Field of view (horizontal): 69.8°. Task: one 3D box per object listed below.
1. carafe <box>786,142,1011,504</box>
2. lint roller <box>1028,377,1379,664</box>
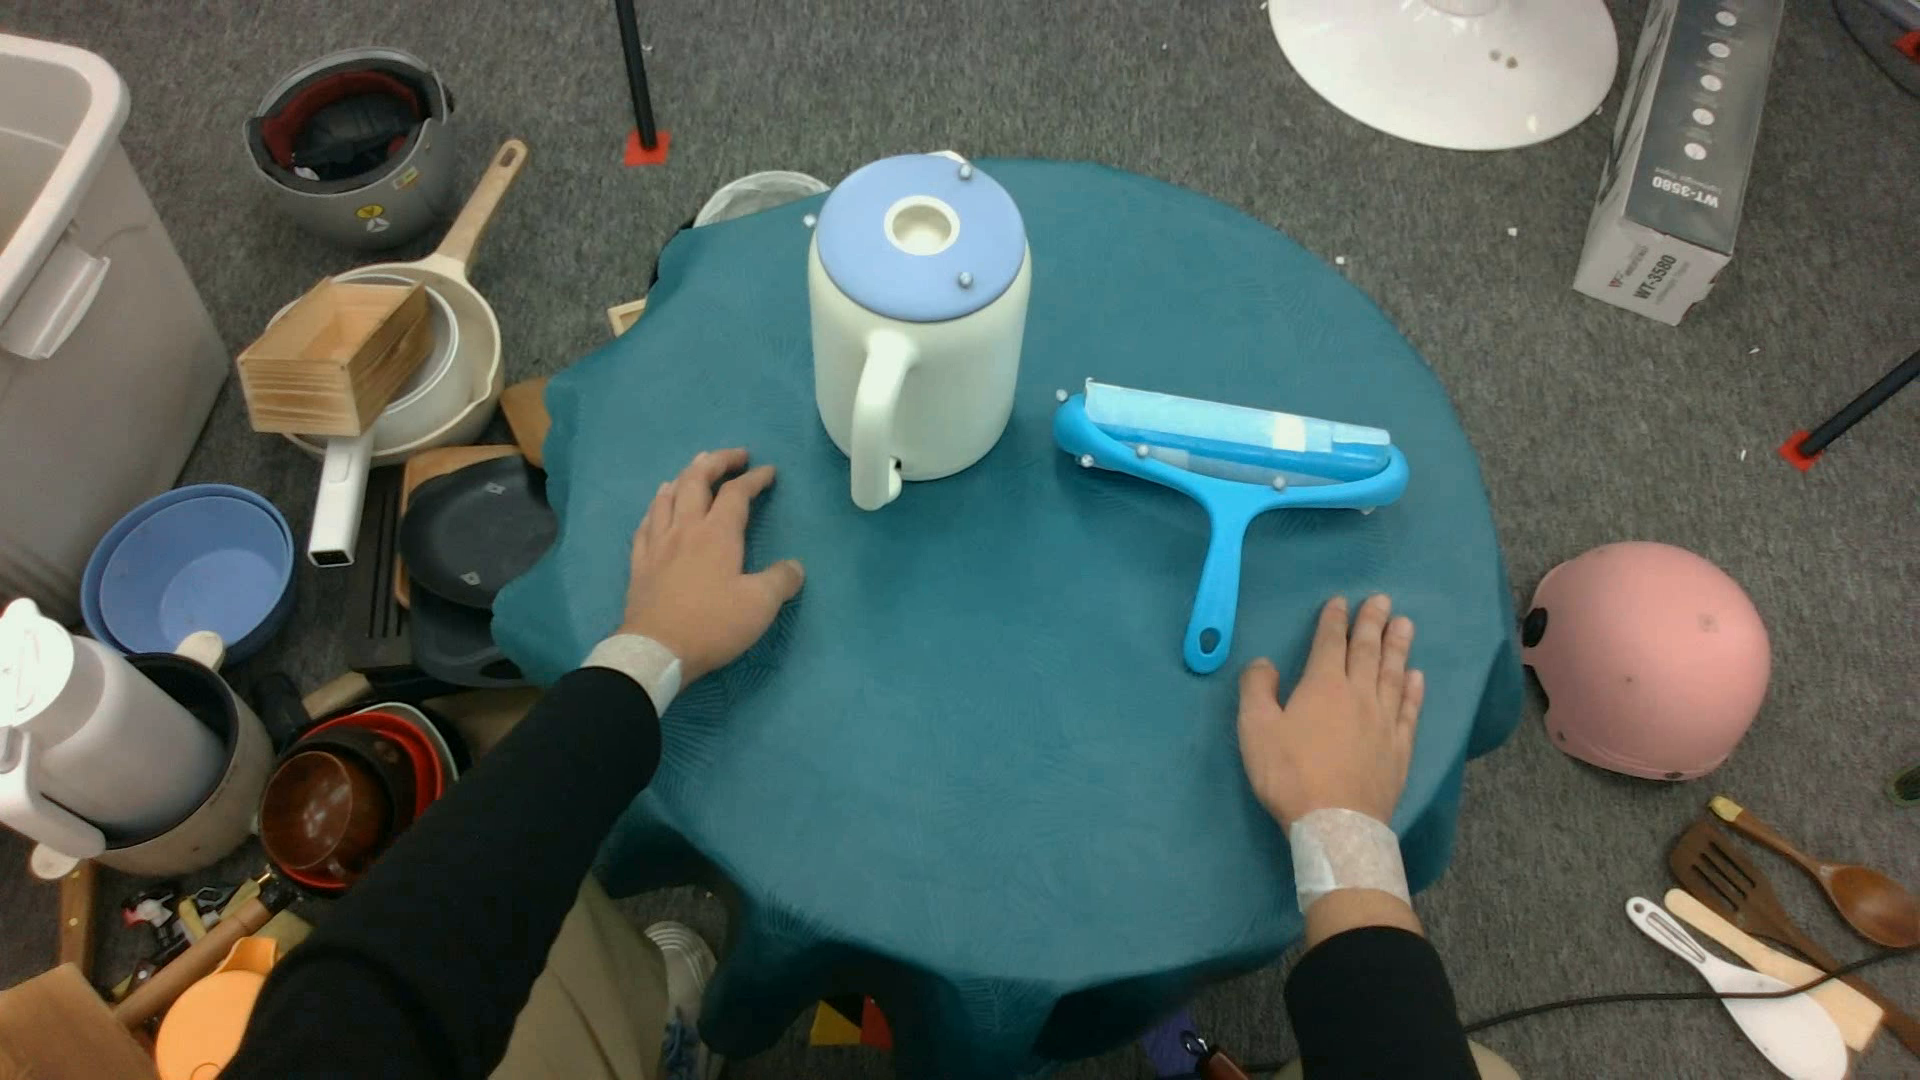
[{"bbox_3d":[-0.044,-0.116,0.835,0.132,0.182,0.192,11,63,3],"label":"carafe"},{"bbox_3d":[0.151,-0.014,0.859,0.229,0.067,0.181,10,55,-3],"label":"lint roller"}]
